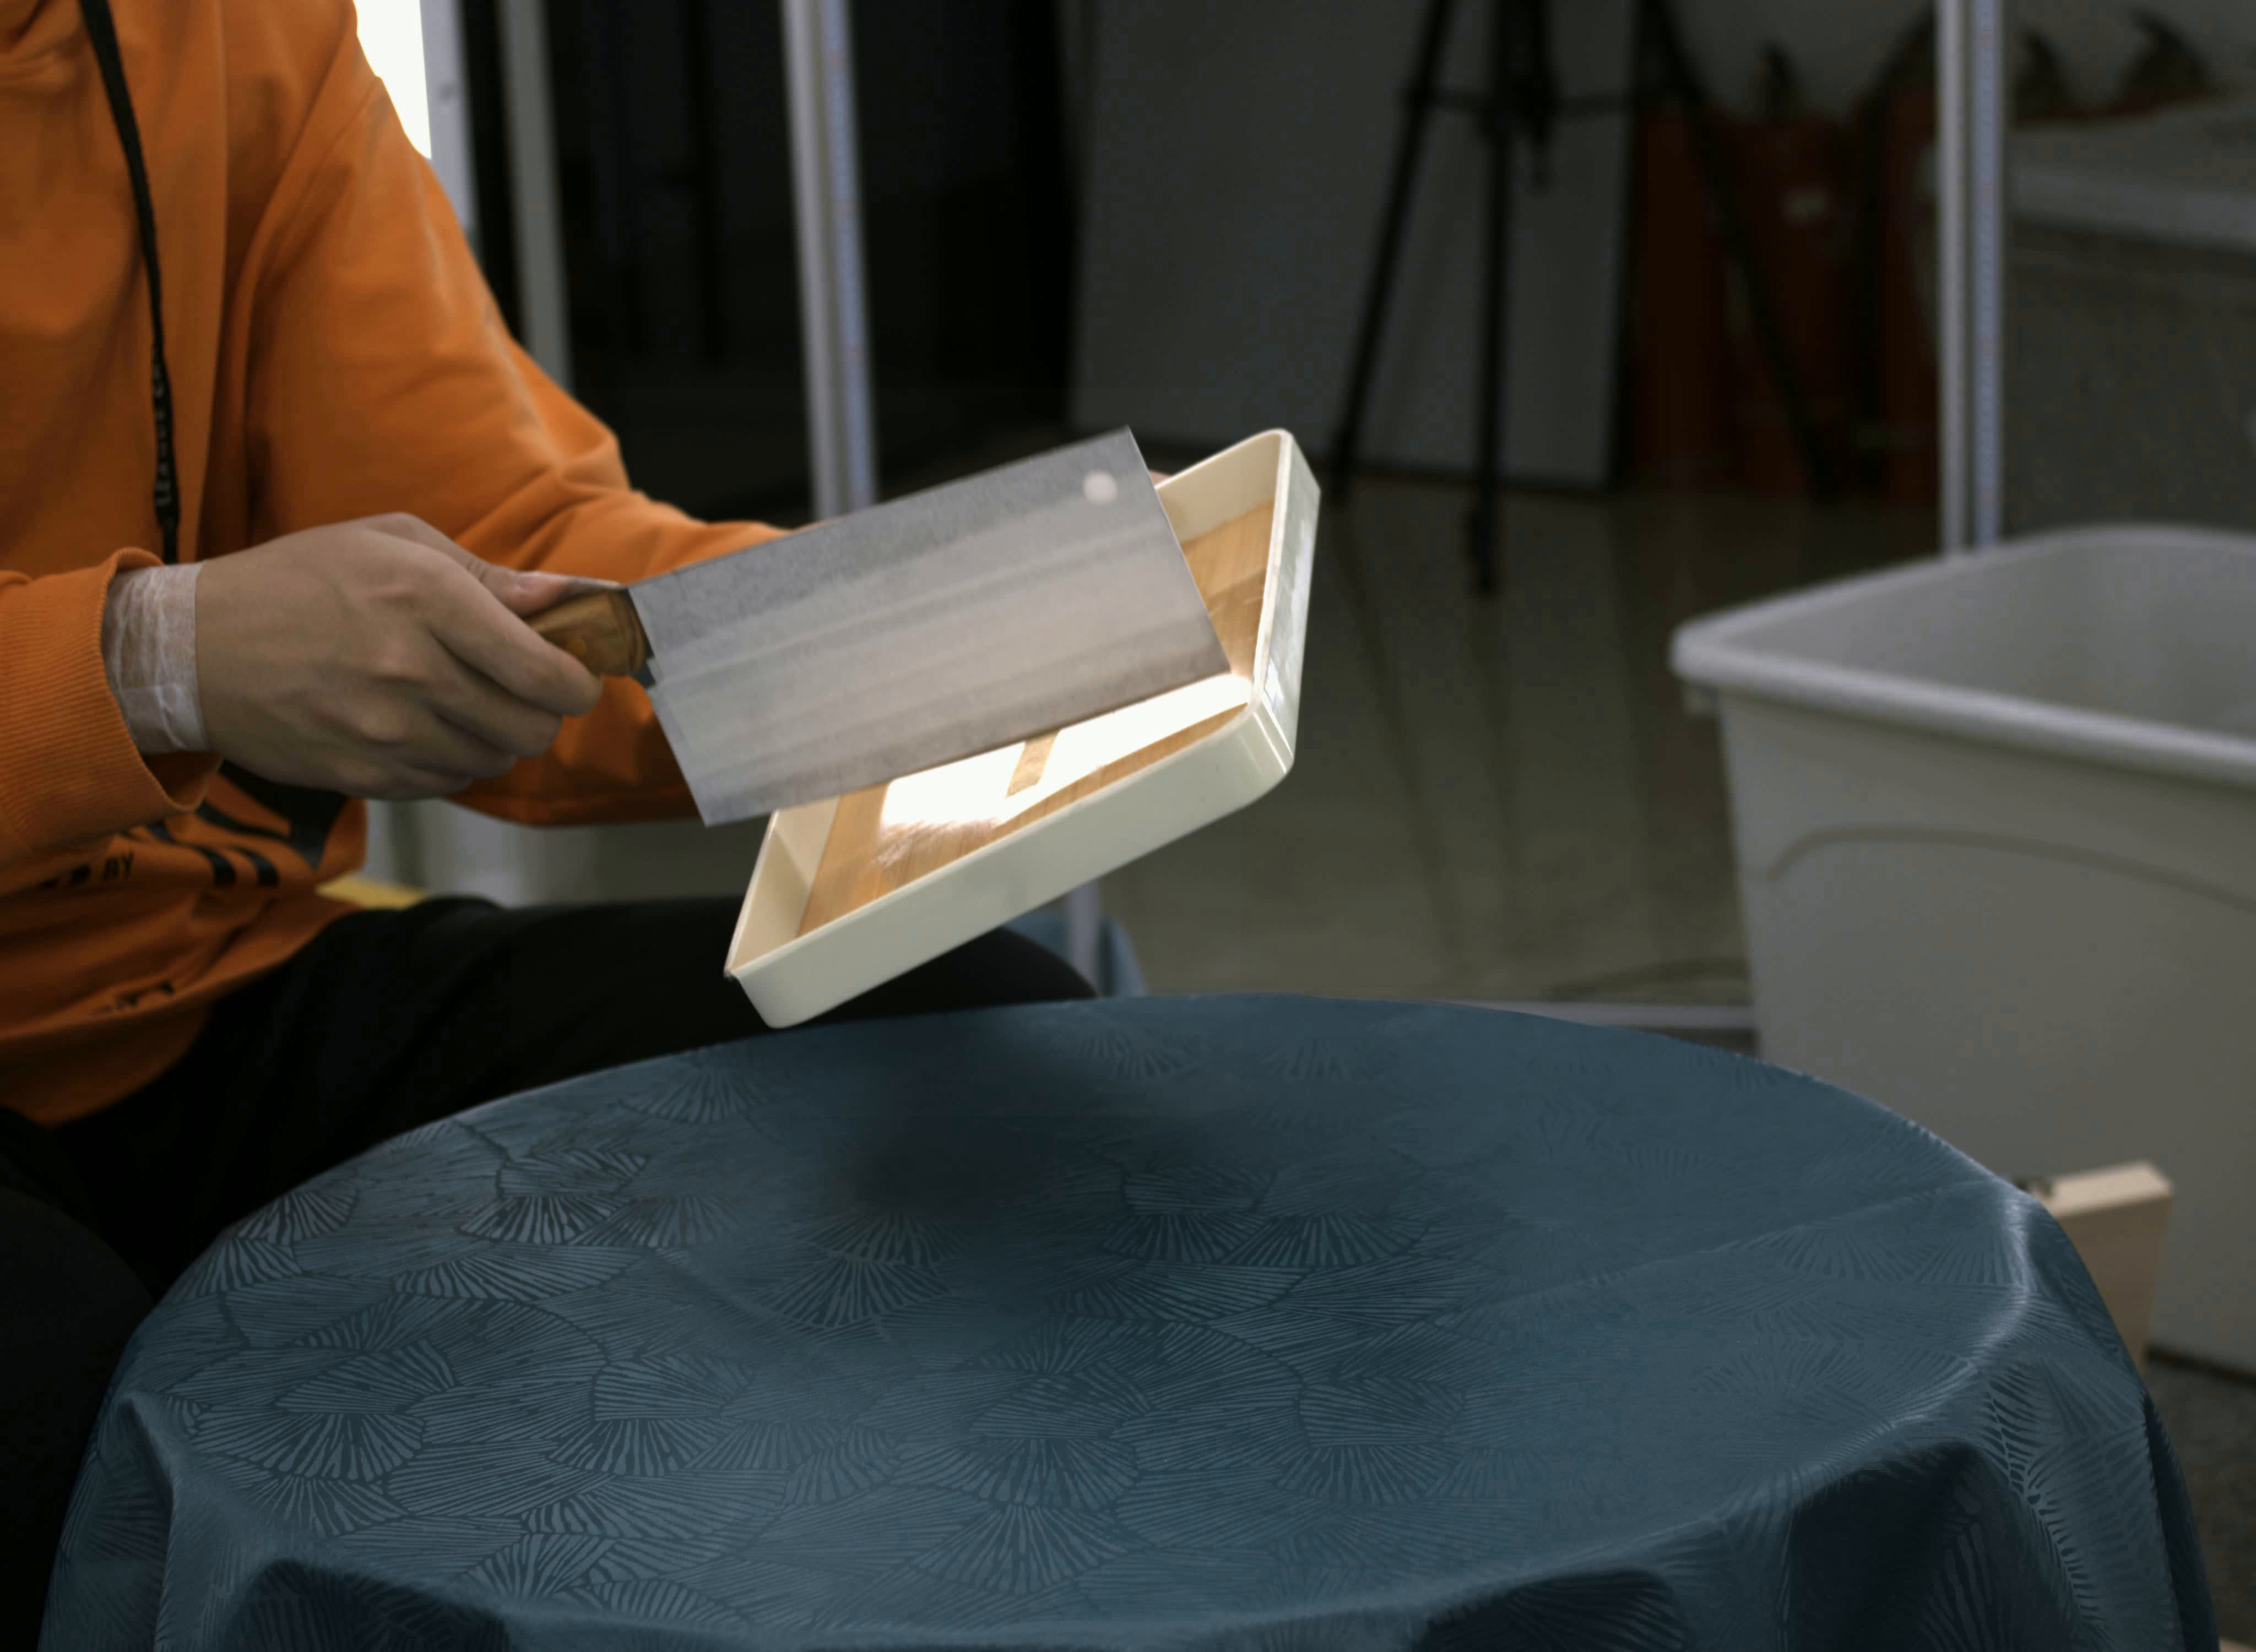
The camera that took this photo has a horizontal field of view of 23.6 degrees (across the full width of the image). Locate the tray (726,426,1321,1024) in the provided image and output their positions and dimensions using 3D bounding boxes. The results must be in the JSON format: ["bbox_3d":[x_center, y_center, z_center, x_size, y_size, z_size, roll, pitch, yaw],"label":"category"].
[{"bbox_3d":[-0.028,-0.038,1.766,0.191,0.027,0.300,-27,17,14],"label":"tray"}]

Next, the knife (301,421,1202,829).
[{"bbox_3d":[-0.121,-0.048,1.743,0.305,0.093,0.021,-17,21,20],"label":"knife"}]
